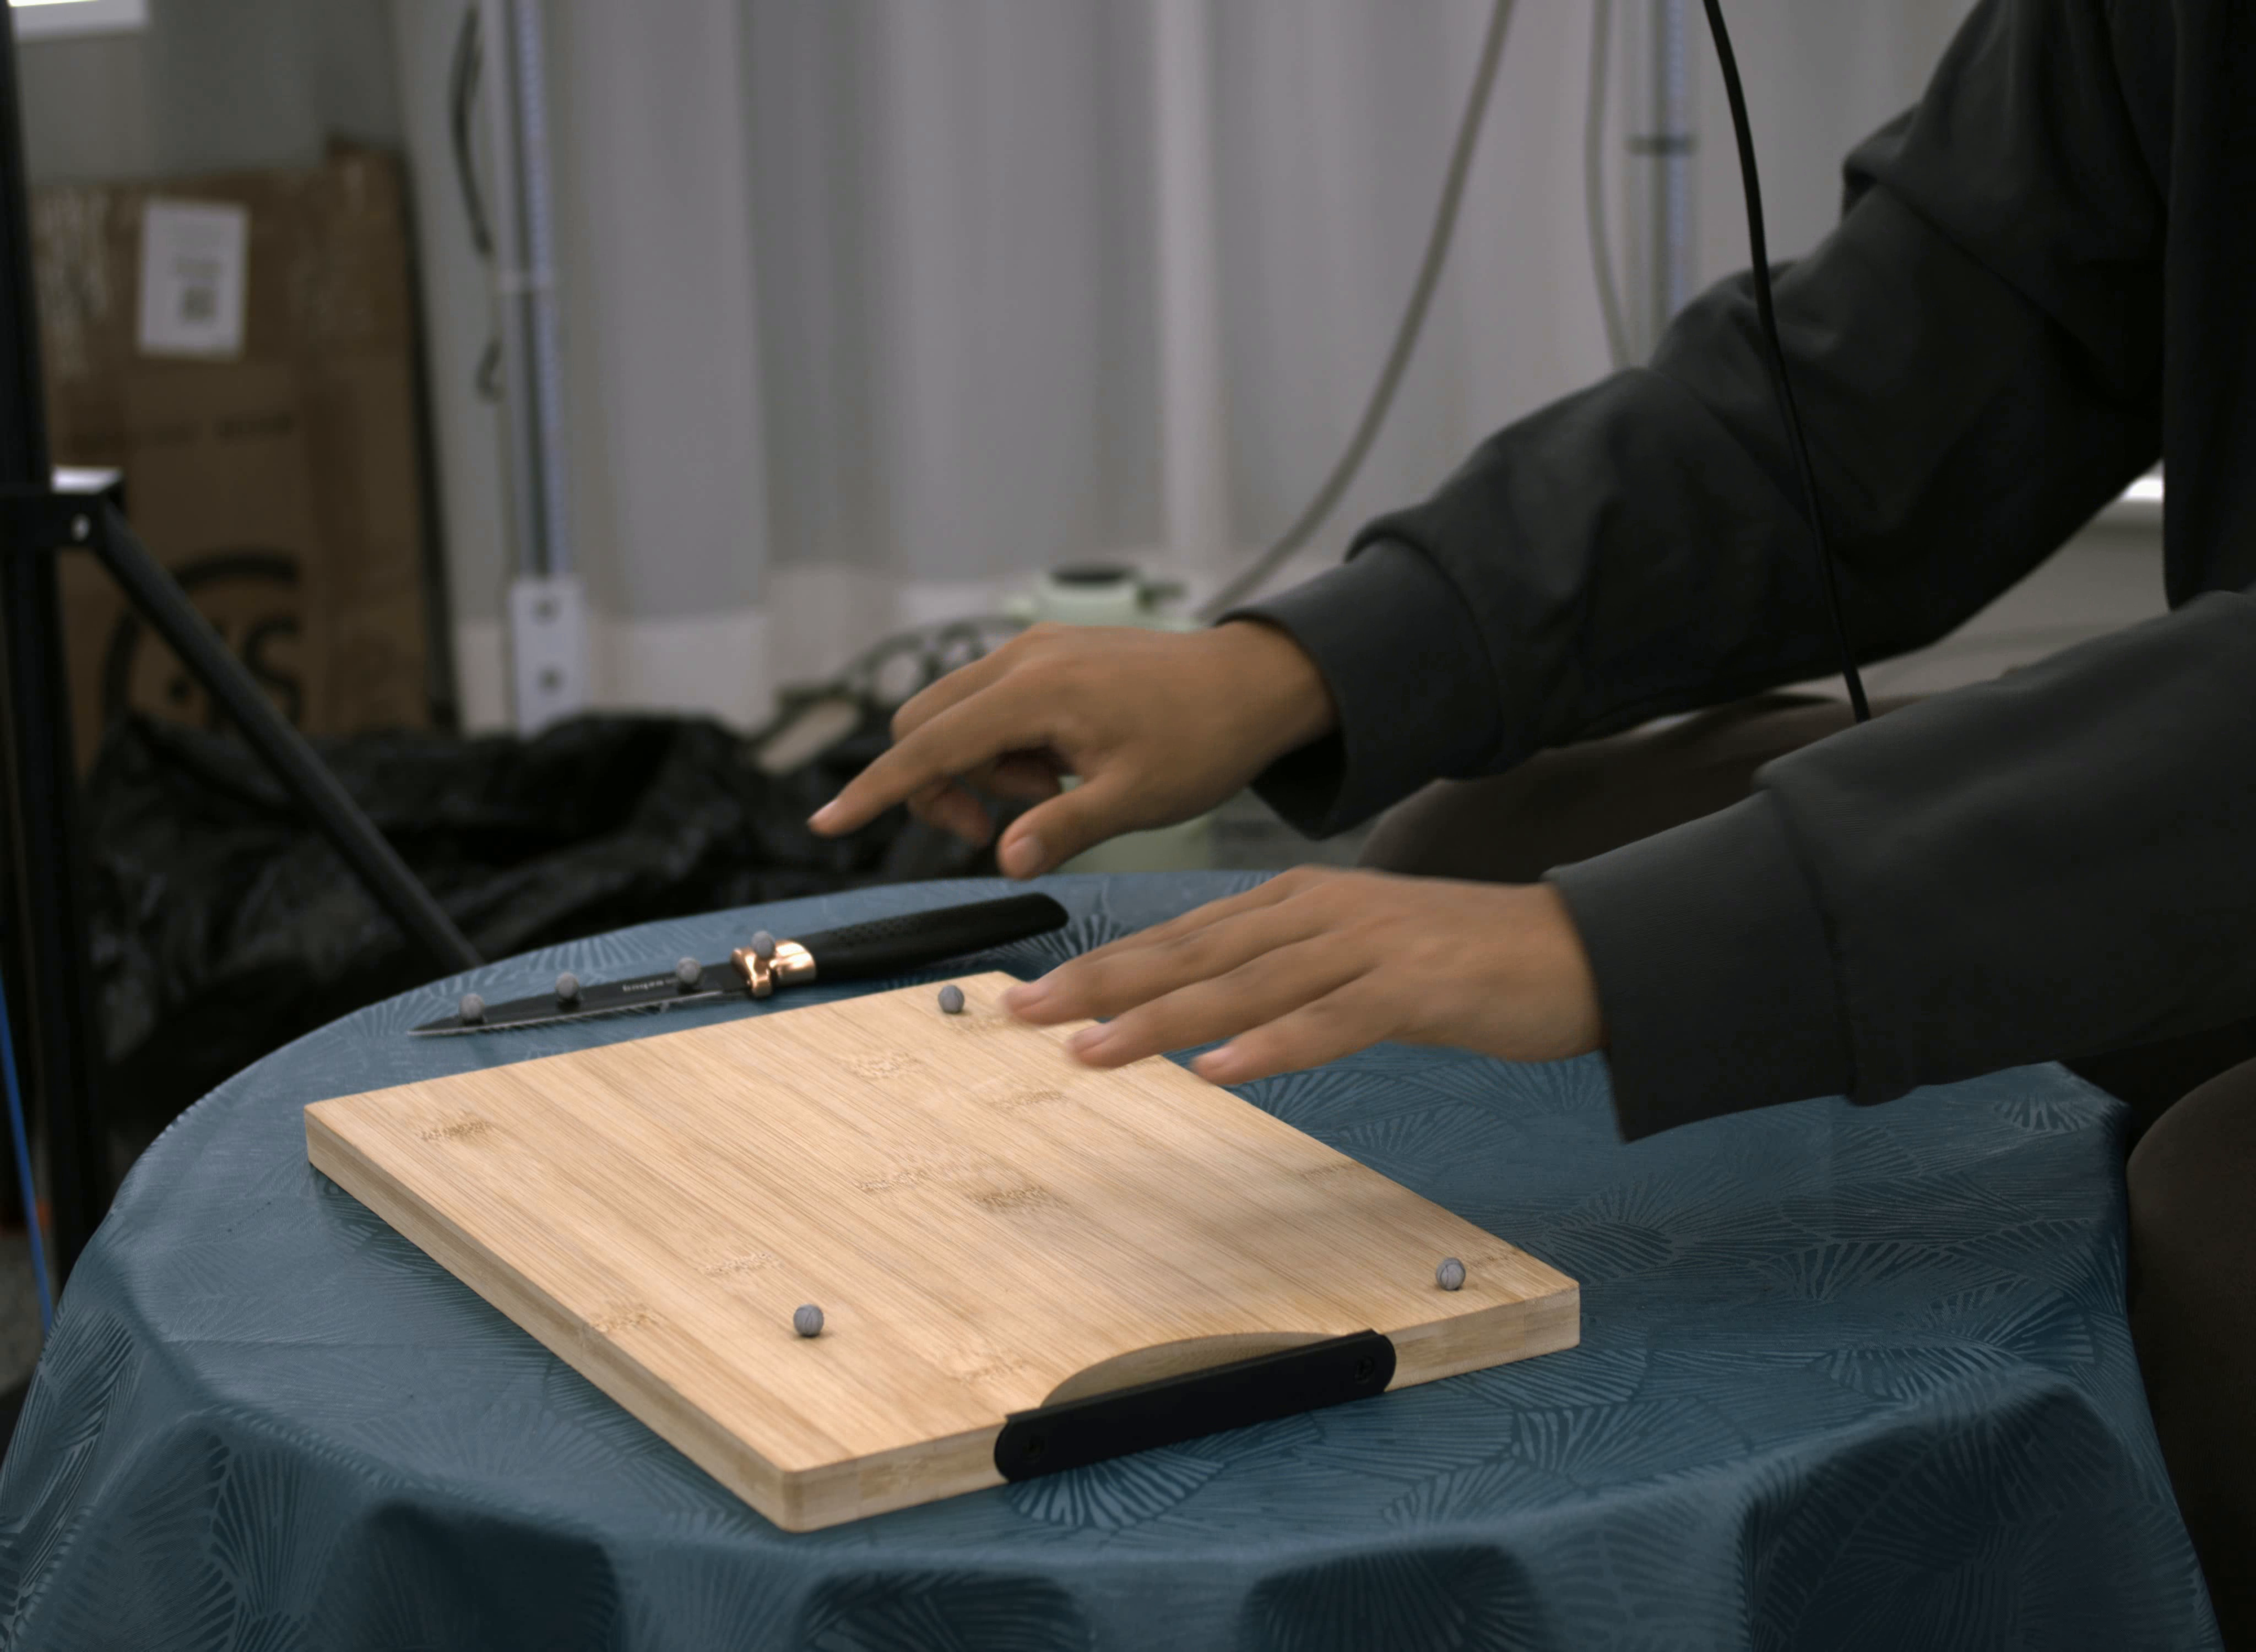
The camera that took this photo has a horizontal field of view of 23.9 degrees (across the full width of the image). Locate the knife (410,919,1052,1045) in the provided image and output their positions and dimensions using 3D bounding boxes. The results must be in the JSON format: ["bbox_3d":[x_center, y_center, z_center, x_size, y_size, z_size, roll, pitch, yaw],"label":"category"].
[{"bbox_3d":[-0.128,0.052,1.754,0.221,0.017,0.027,-8,23,-17],"label":"knife"}]

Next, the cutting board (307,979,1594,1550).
[{"bbox_3d":[-0.061,0.115,1.513,0.245,0.023,0.356,-11,18,-27],"label":"cutting board"}]
